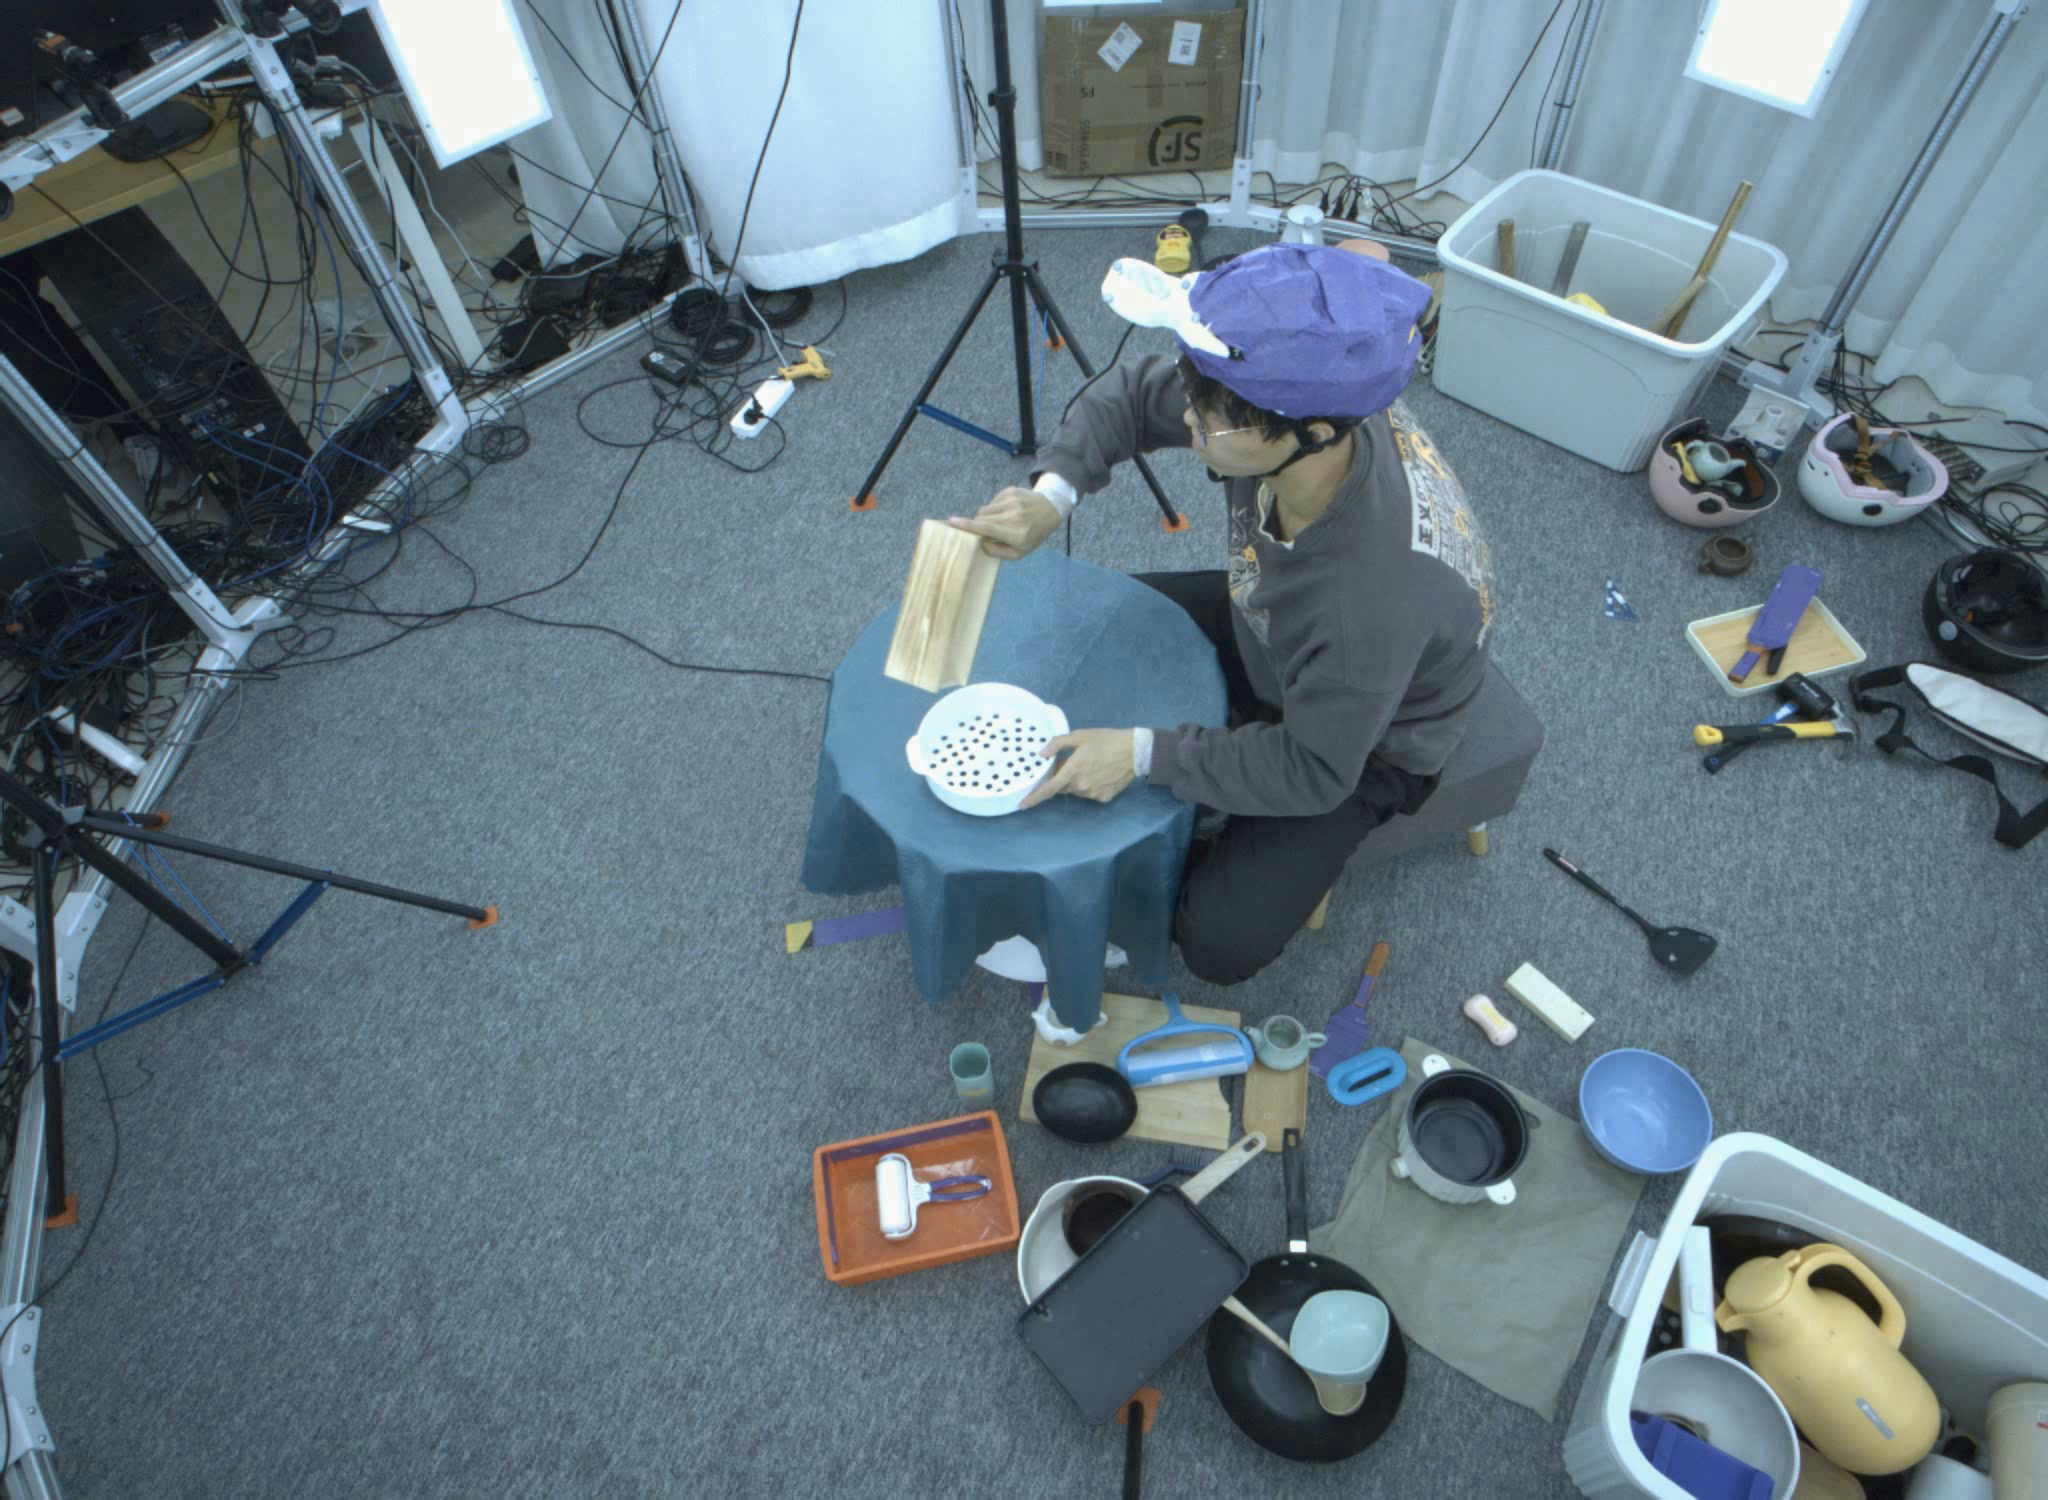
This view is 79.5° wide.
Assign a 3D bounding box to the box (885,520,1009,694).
[{"bbox_3d":[-0.102,-0.191,1.620,0.079,0.212,0.108,21,15,14],"label":"box"}]

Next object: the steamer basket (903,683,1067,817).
[{"bbox_3d":[-0.053,0.002,1.743,0.232,0.070,0.198,-12,55,-8],"label":"steamer basket"}]
